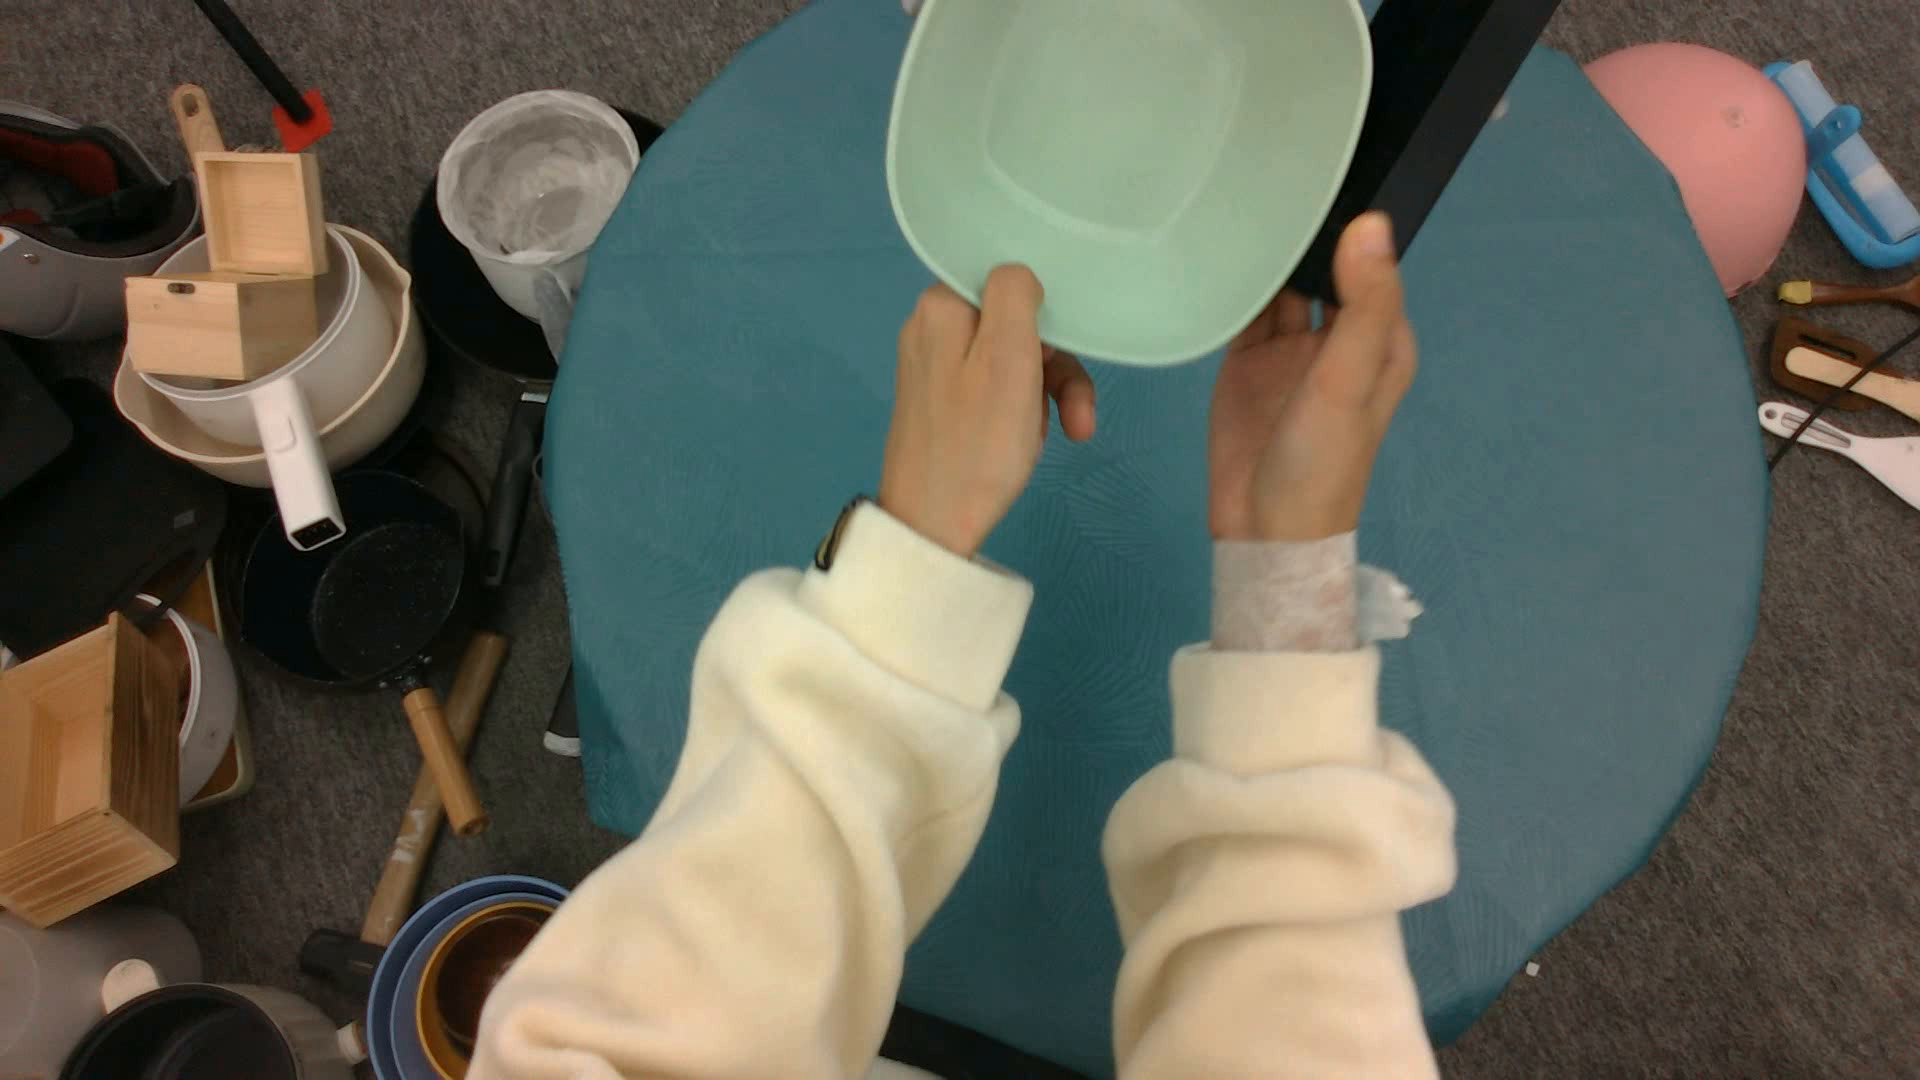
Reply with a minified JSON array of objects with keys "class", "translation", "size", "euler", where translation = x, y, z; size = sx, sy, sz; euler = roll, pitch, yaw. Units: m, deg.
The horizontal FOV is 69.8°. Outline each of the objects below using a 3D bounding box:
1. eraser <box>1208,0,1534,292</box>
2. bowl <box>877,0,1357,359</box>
[{"class":"eraser","translation":[0.134,-0.144,0.443],"size":[0.030,0.053,0.125],"euler":[26,104,-30]},{"class":"bowl","translation":[0.048,-0.137,0.449],"size":[0.151,0.059,0.151],"euler":[0,112,1]}]
